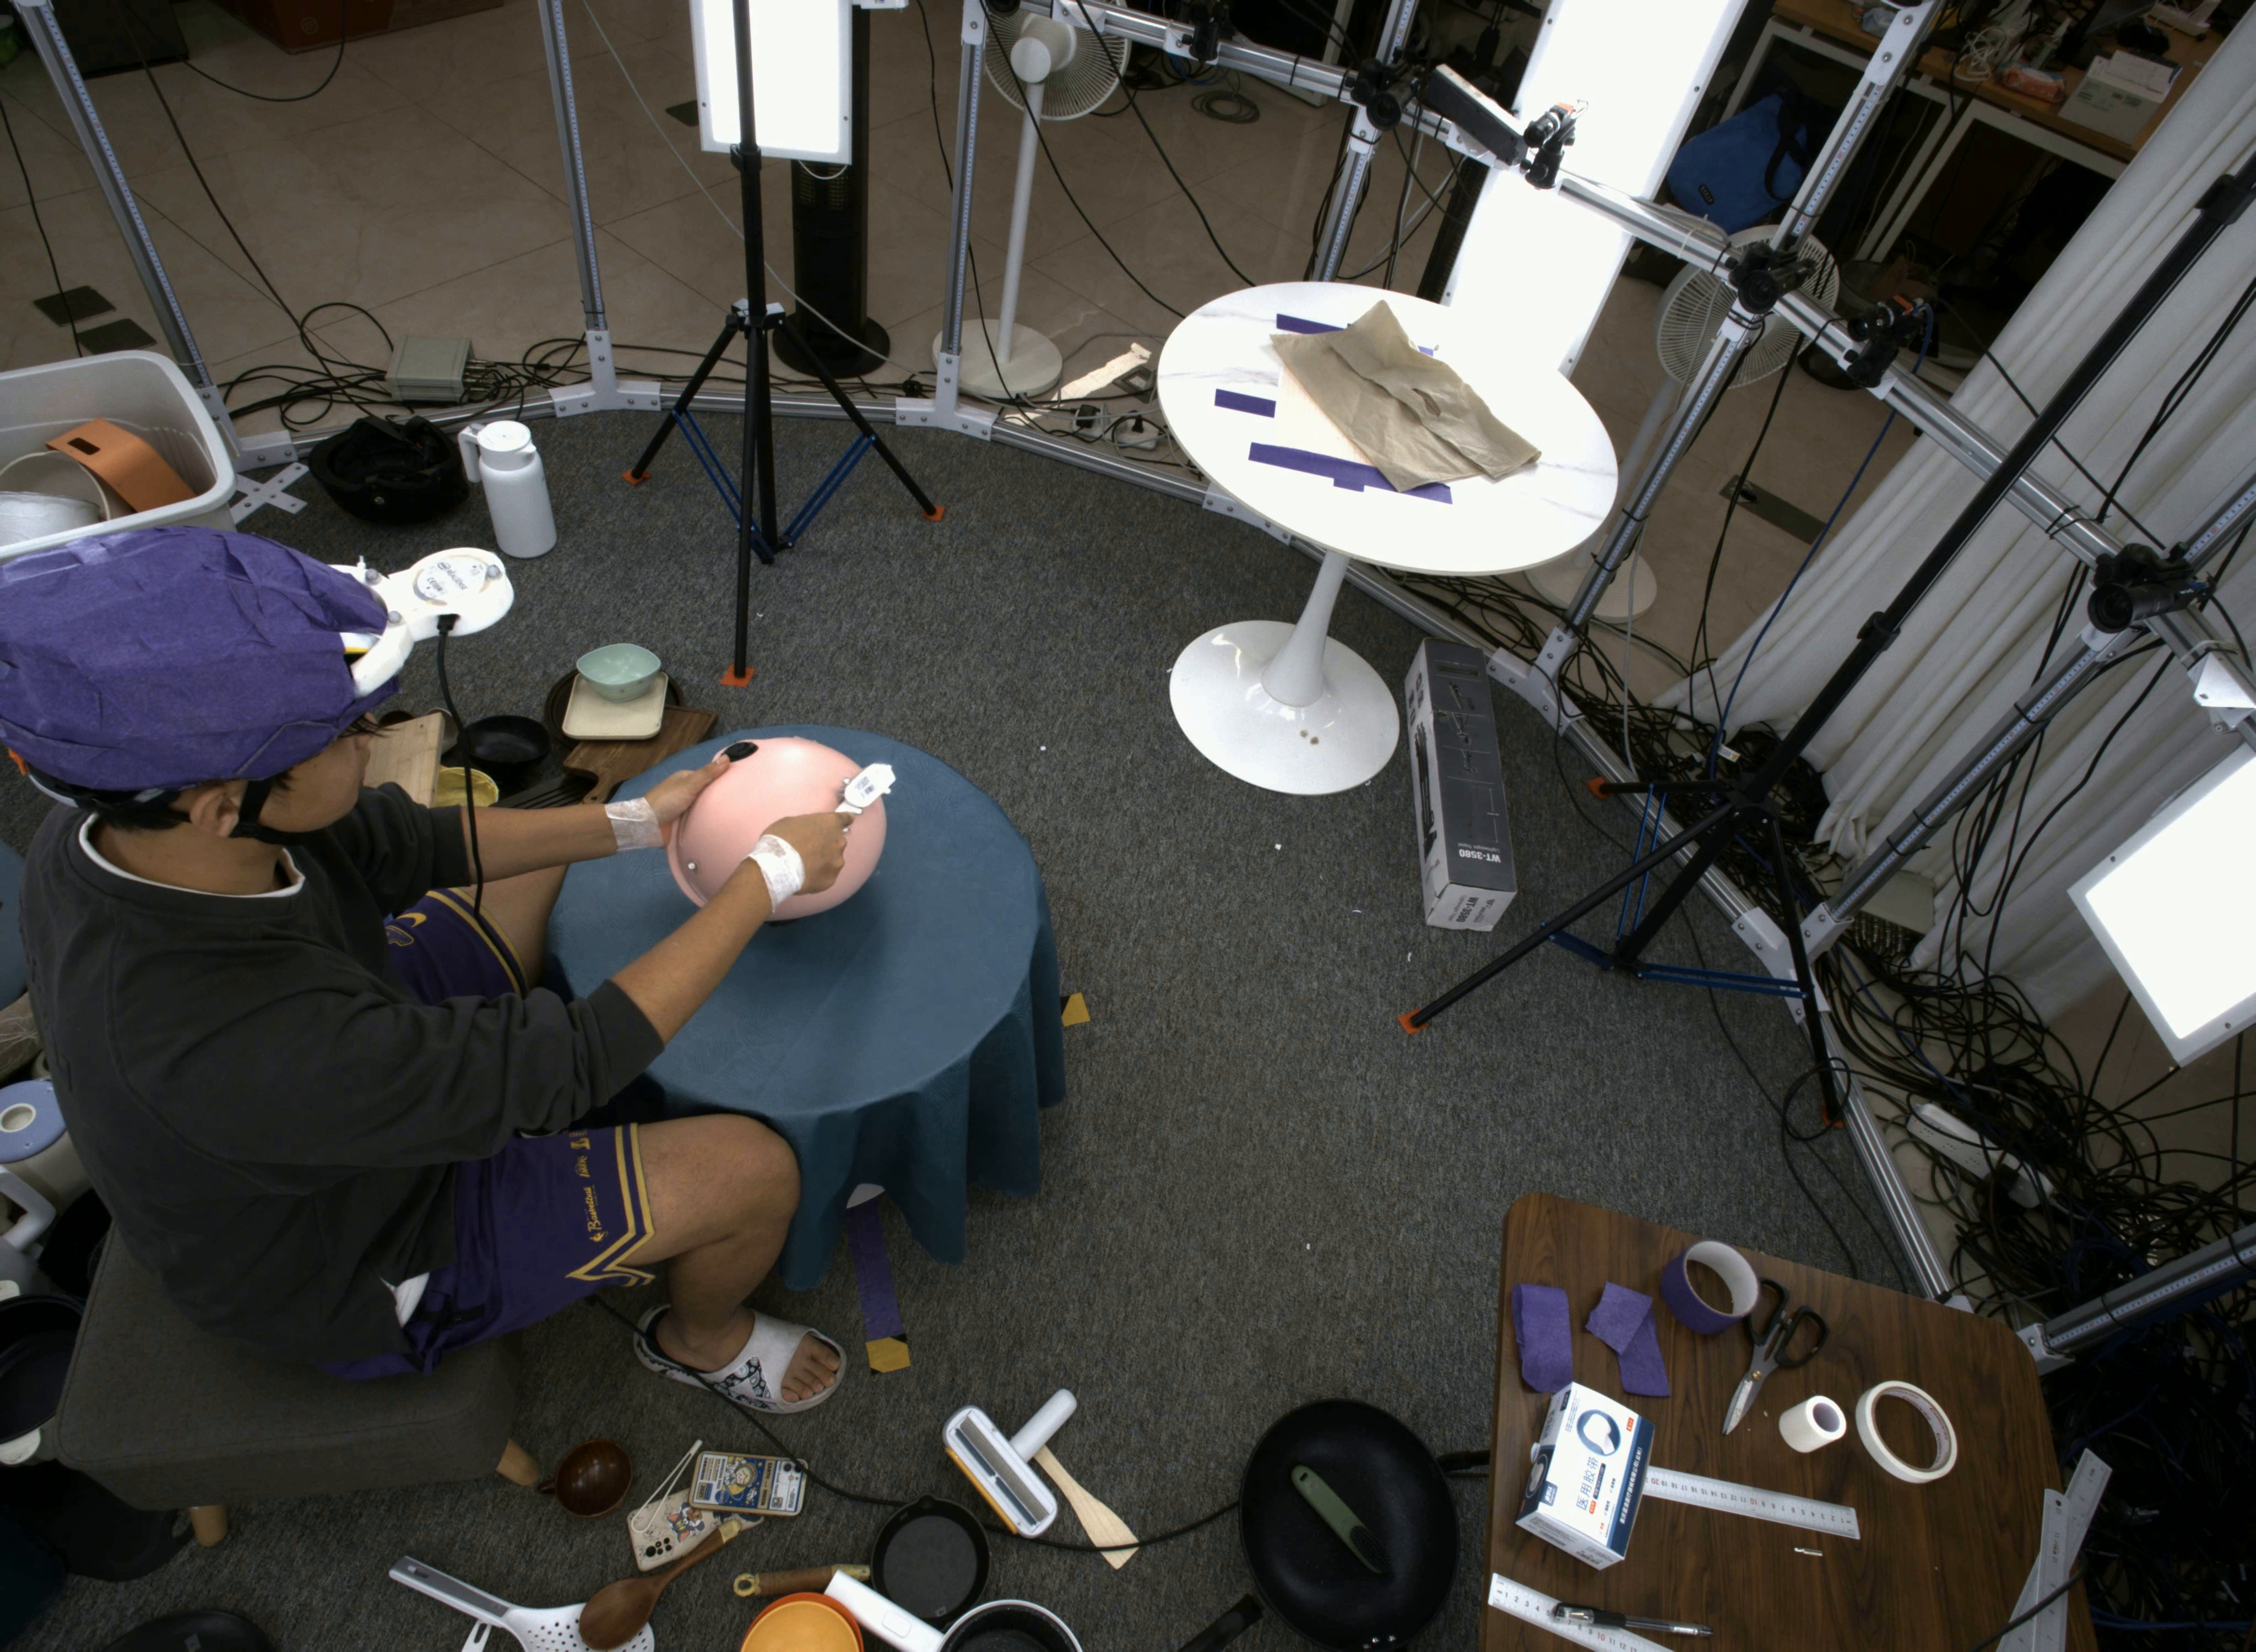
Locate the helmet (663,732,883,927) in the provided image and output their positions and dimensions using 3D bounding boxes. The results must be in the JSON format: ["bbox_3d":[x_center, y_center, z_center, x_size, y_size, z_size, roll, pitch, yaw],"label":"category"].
[{"bbox_3d":[-0.404,0.006,1.549,0.268,0.241,0.153,-24,22,-38],"label":"helmet"}]

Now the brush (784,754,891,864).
[{"bbox_3d":[-0.330,-0.013,1.437,0.035,0.050,0.241,50,29,-13],"label":"brush"}]
